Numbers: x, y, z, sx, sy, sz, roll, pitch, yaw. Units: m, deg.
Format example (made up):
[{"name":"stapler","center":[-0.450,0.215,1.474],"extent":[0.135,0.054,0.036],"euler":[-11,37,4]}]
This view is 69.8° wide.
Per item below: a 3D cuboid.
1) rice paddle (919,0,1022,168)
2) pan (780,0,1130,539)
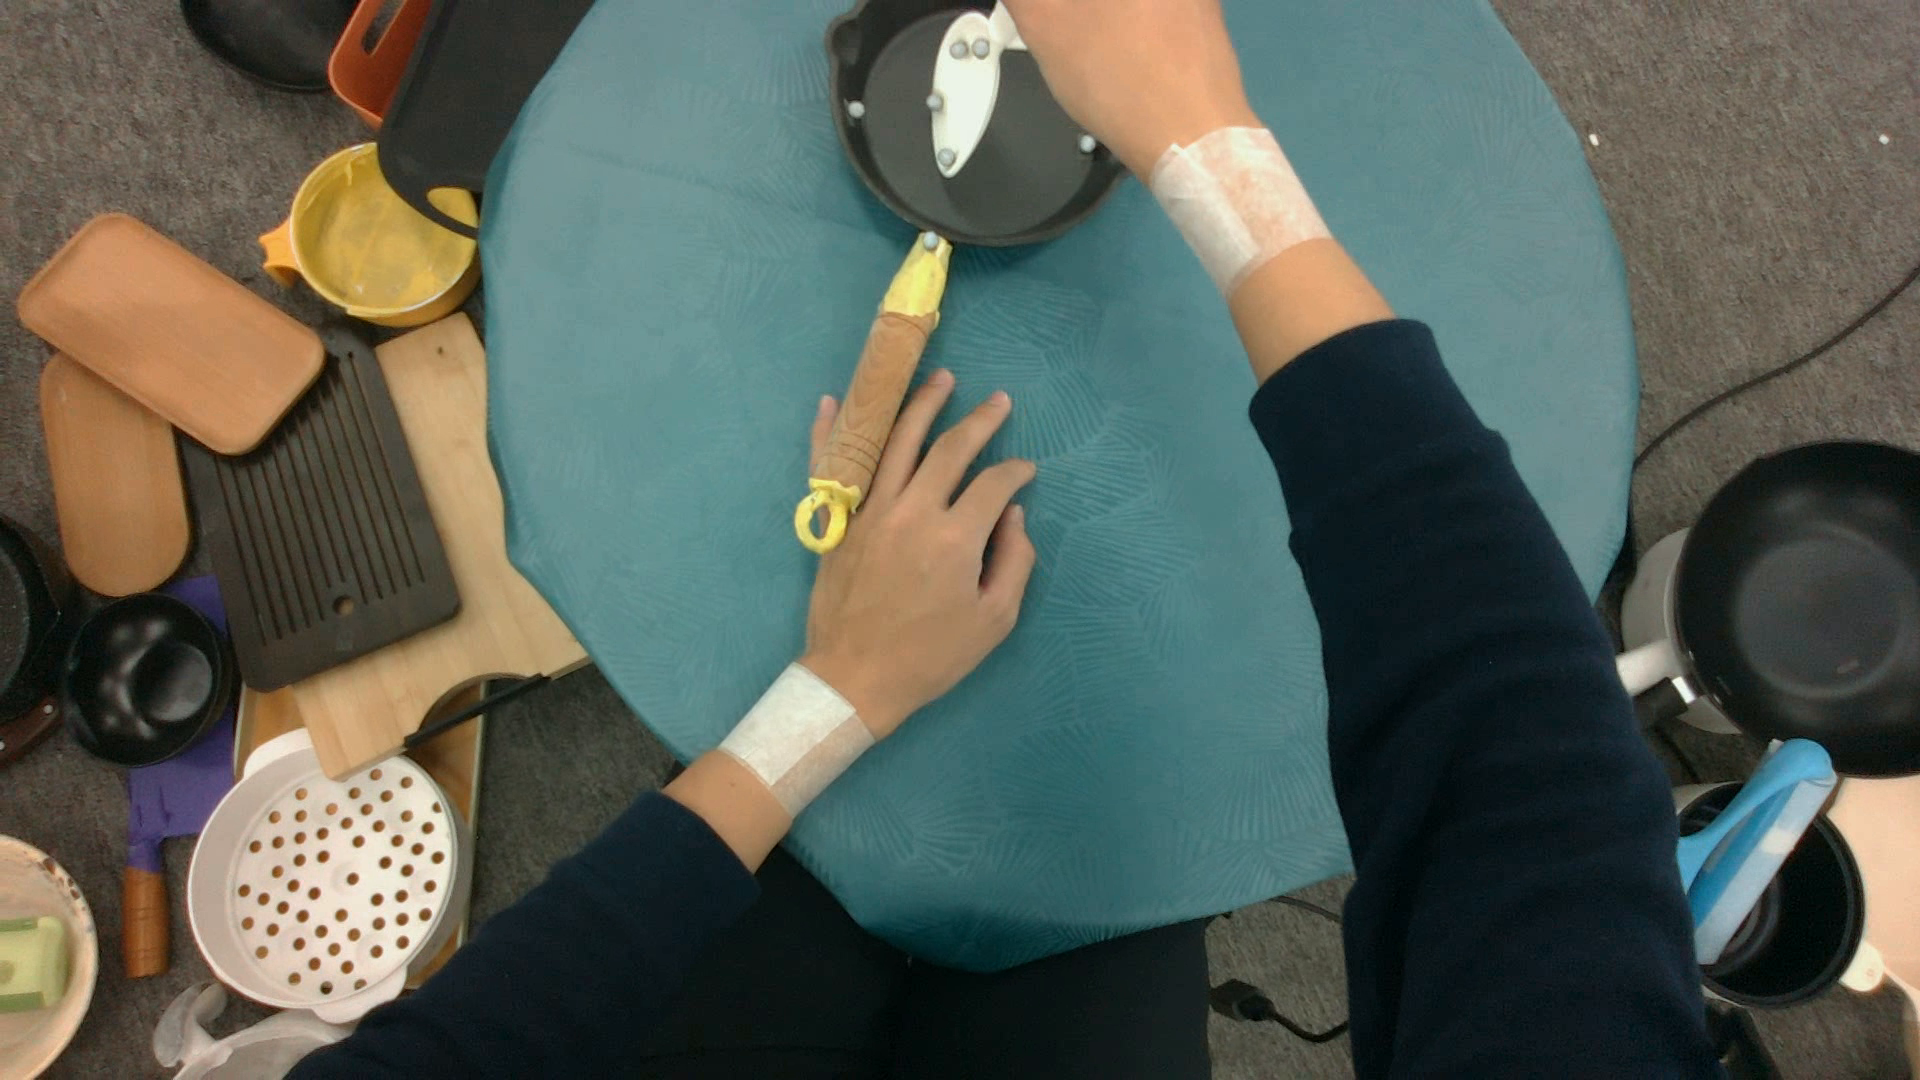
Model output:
[{"name":"rice paddle","center":[0.008,-0.227,0.612],"extent":[0.029,0.204,0.069],"euler":[0,81,-19]},{"name":"pan","center":[-0.024,-0.149,0.675],"extent":[0.169,0.049,0.325],"euler":[22,76,-4]}]
